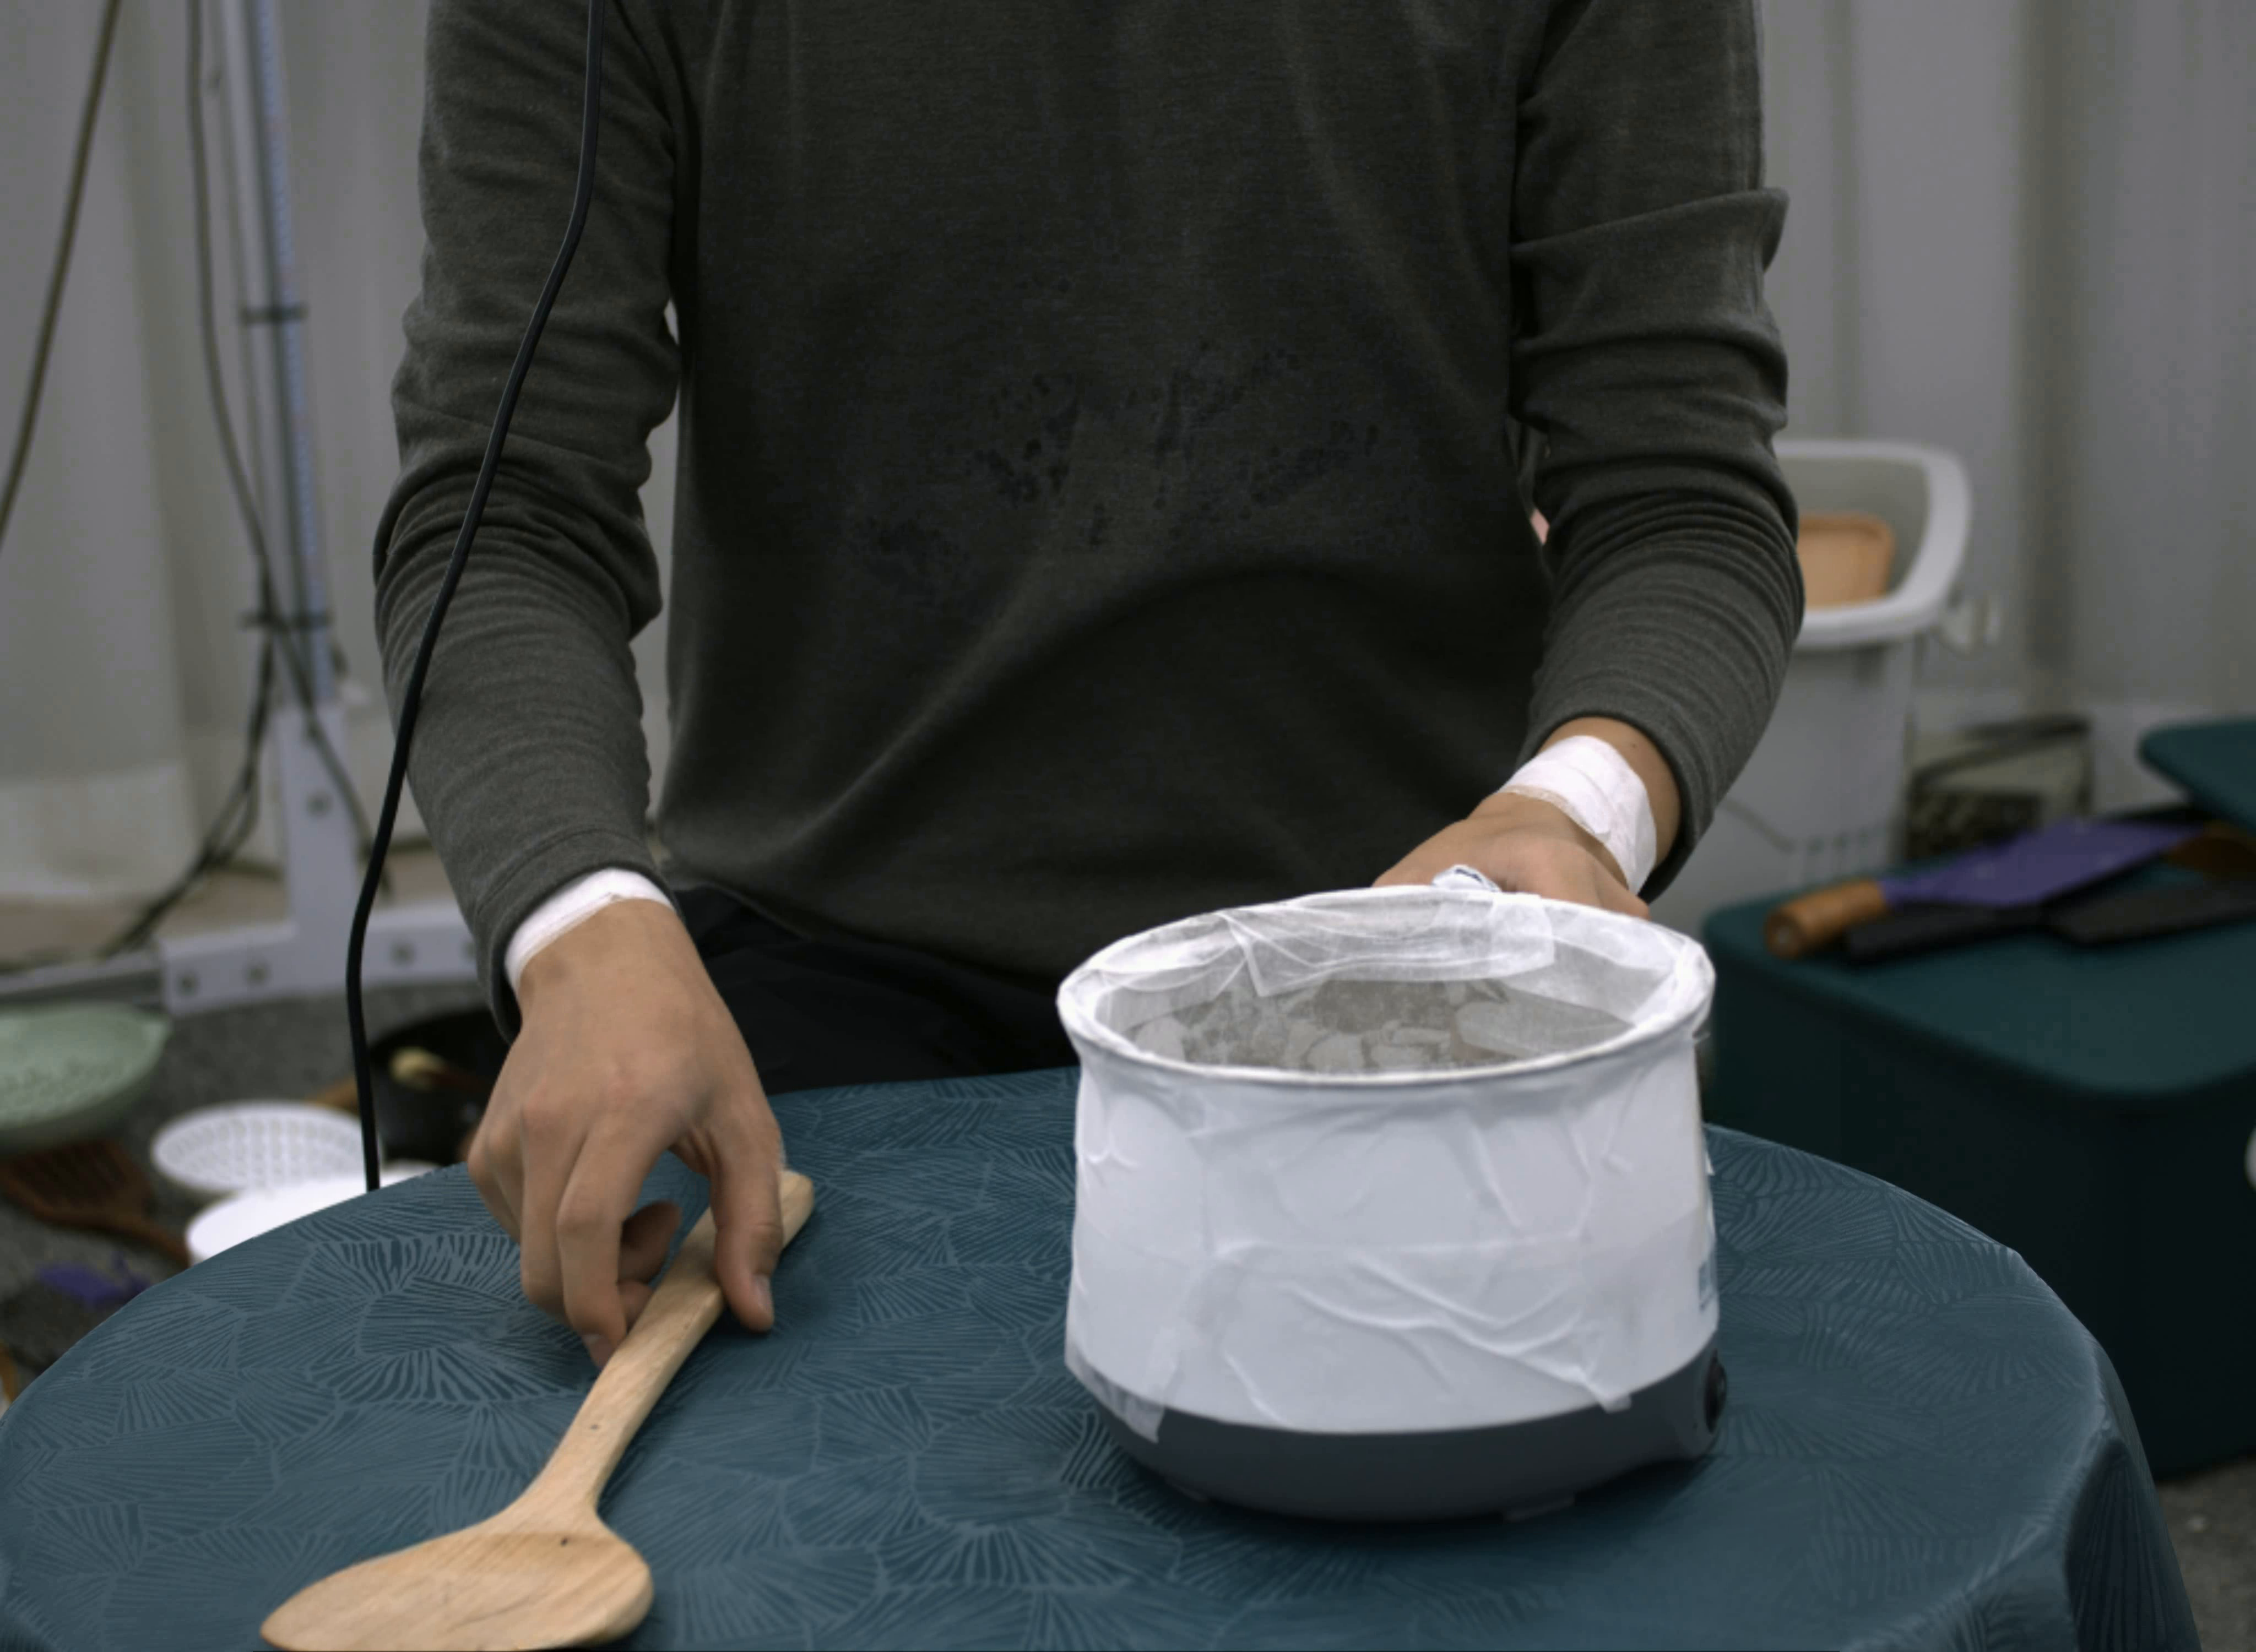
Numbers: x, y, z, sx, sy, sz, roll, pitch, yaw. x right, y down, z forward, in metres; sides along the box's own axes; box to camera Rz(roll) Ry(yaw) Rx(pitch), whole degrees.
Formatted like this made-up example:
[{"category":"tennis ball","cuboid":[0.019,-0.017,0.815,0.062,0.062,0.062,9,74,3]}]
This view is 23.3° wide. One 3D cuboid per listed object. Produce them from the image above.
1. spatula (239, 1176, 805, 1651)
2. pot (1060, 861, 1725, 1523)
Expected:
[{"category":"spatula","cuboid":[-0.148,0.160,1.536,0.095,0.018,0.393,0,15,10]},{"category":"pot","cuboid":[0.079,0.095,1.510,0.178,0.136,0.235,1,15,14]}]
